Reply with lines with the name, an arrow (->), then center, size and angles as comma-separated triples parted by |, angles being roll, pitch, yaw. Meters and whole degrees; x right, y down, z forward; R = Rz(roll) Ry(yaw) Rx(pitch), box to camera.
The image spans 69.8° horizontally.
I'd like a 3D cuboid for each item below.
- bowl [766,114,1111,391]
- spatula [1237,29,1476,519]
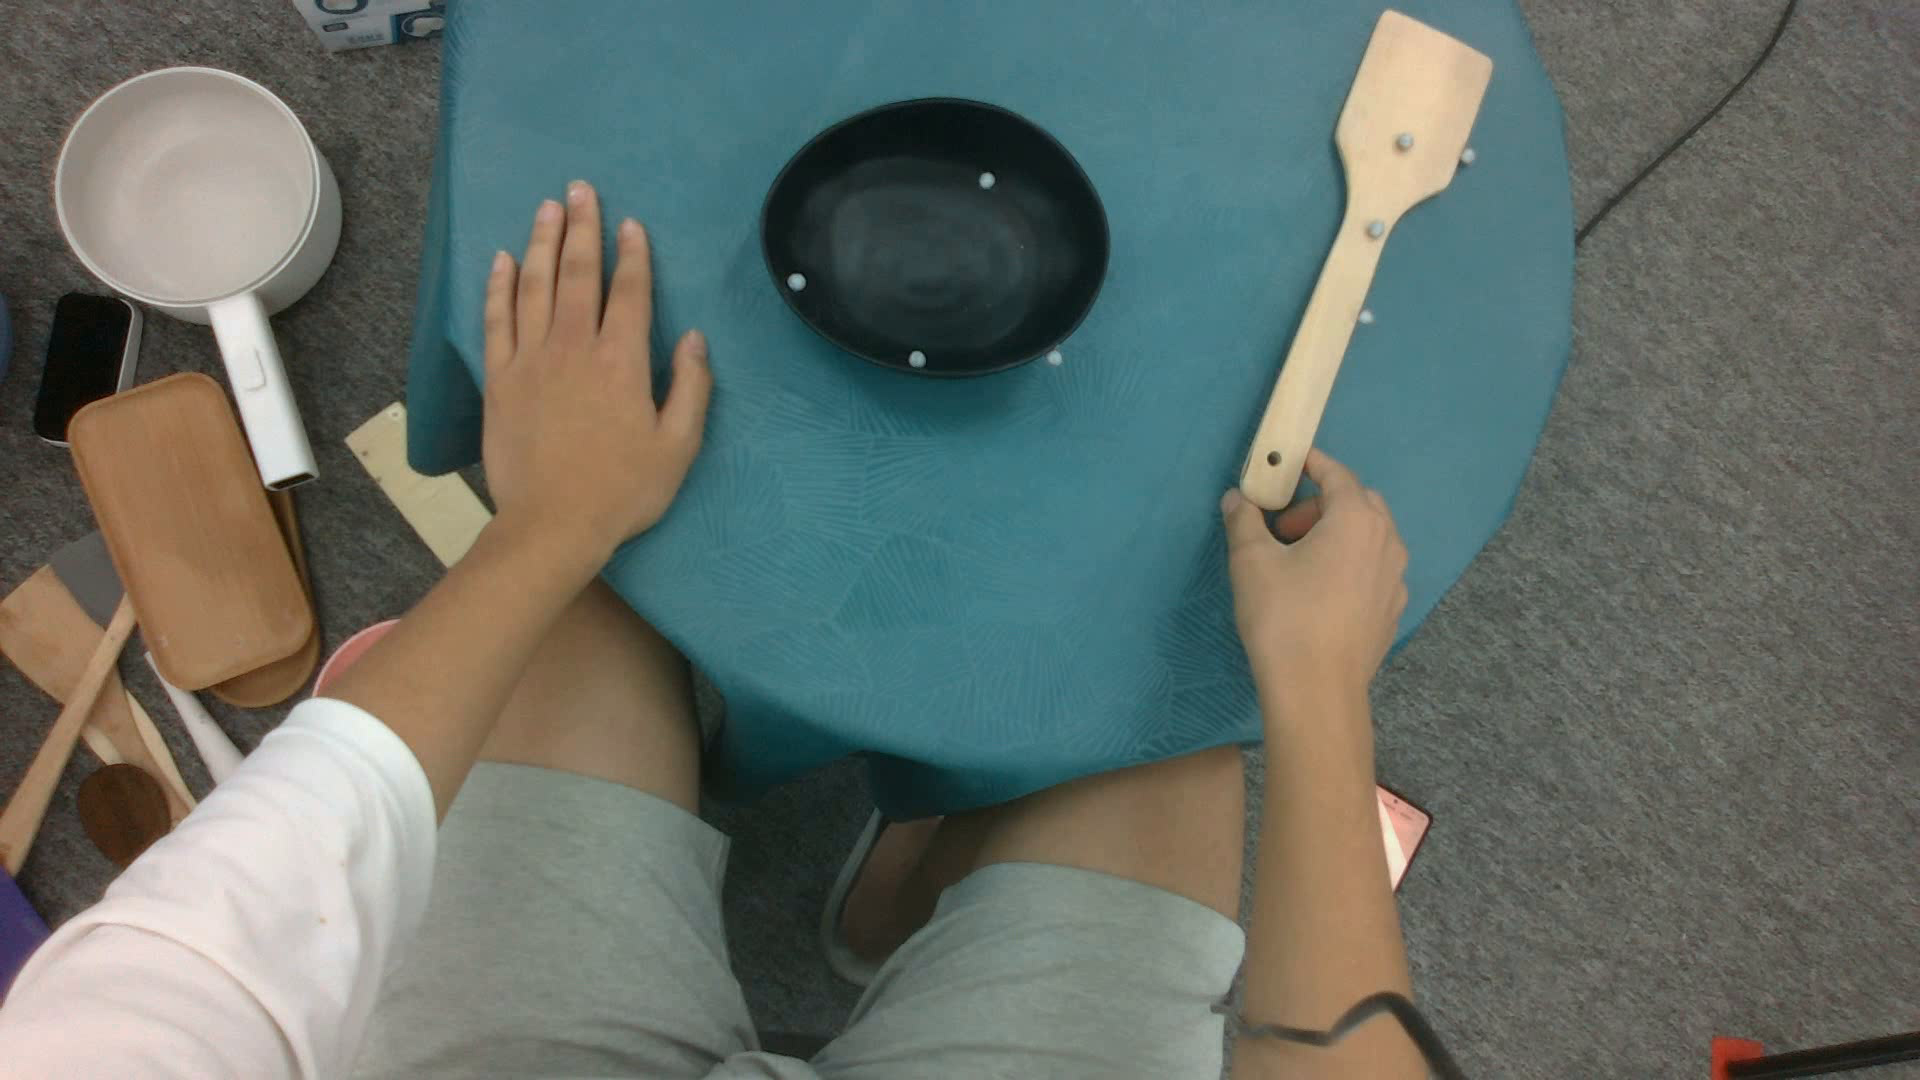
bowl -> -0.012, -0.138, 0.698 | 0.170, 0.066, 0.137 | 0, 84, -5
spatula -> 0.209, -0.144, 0.746 | 0.072, 0.010, 0.293 | 23, 77, -4
